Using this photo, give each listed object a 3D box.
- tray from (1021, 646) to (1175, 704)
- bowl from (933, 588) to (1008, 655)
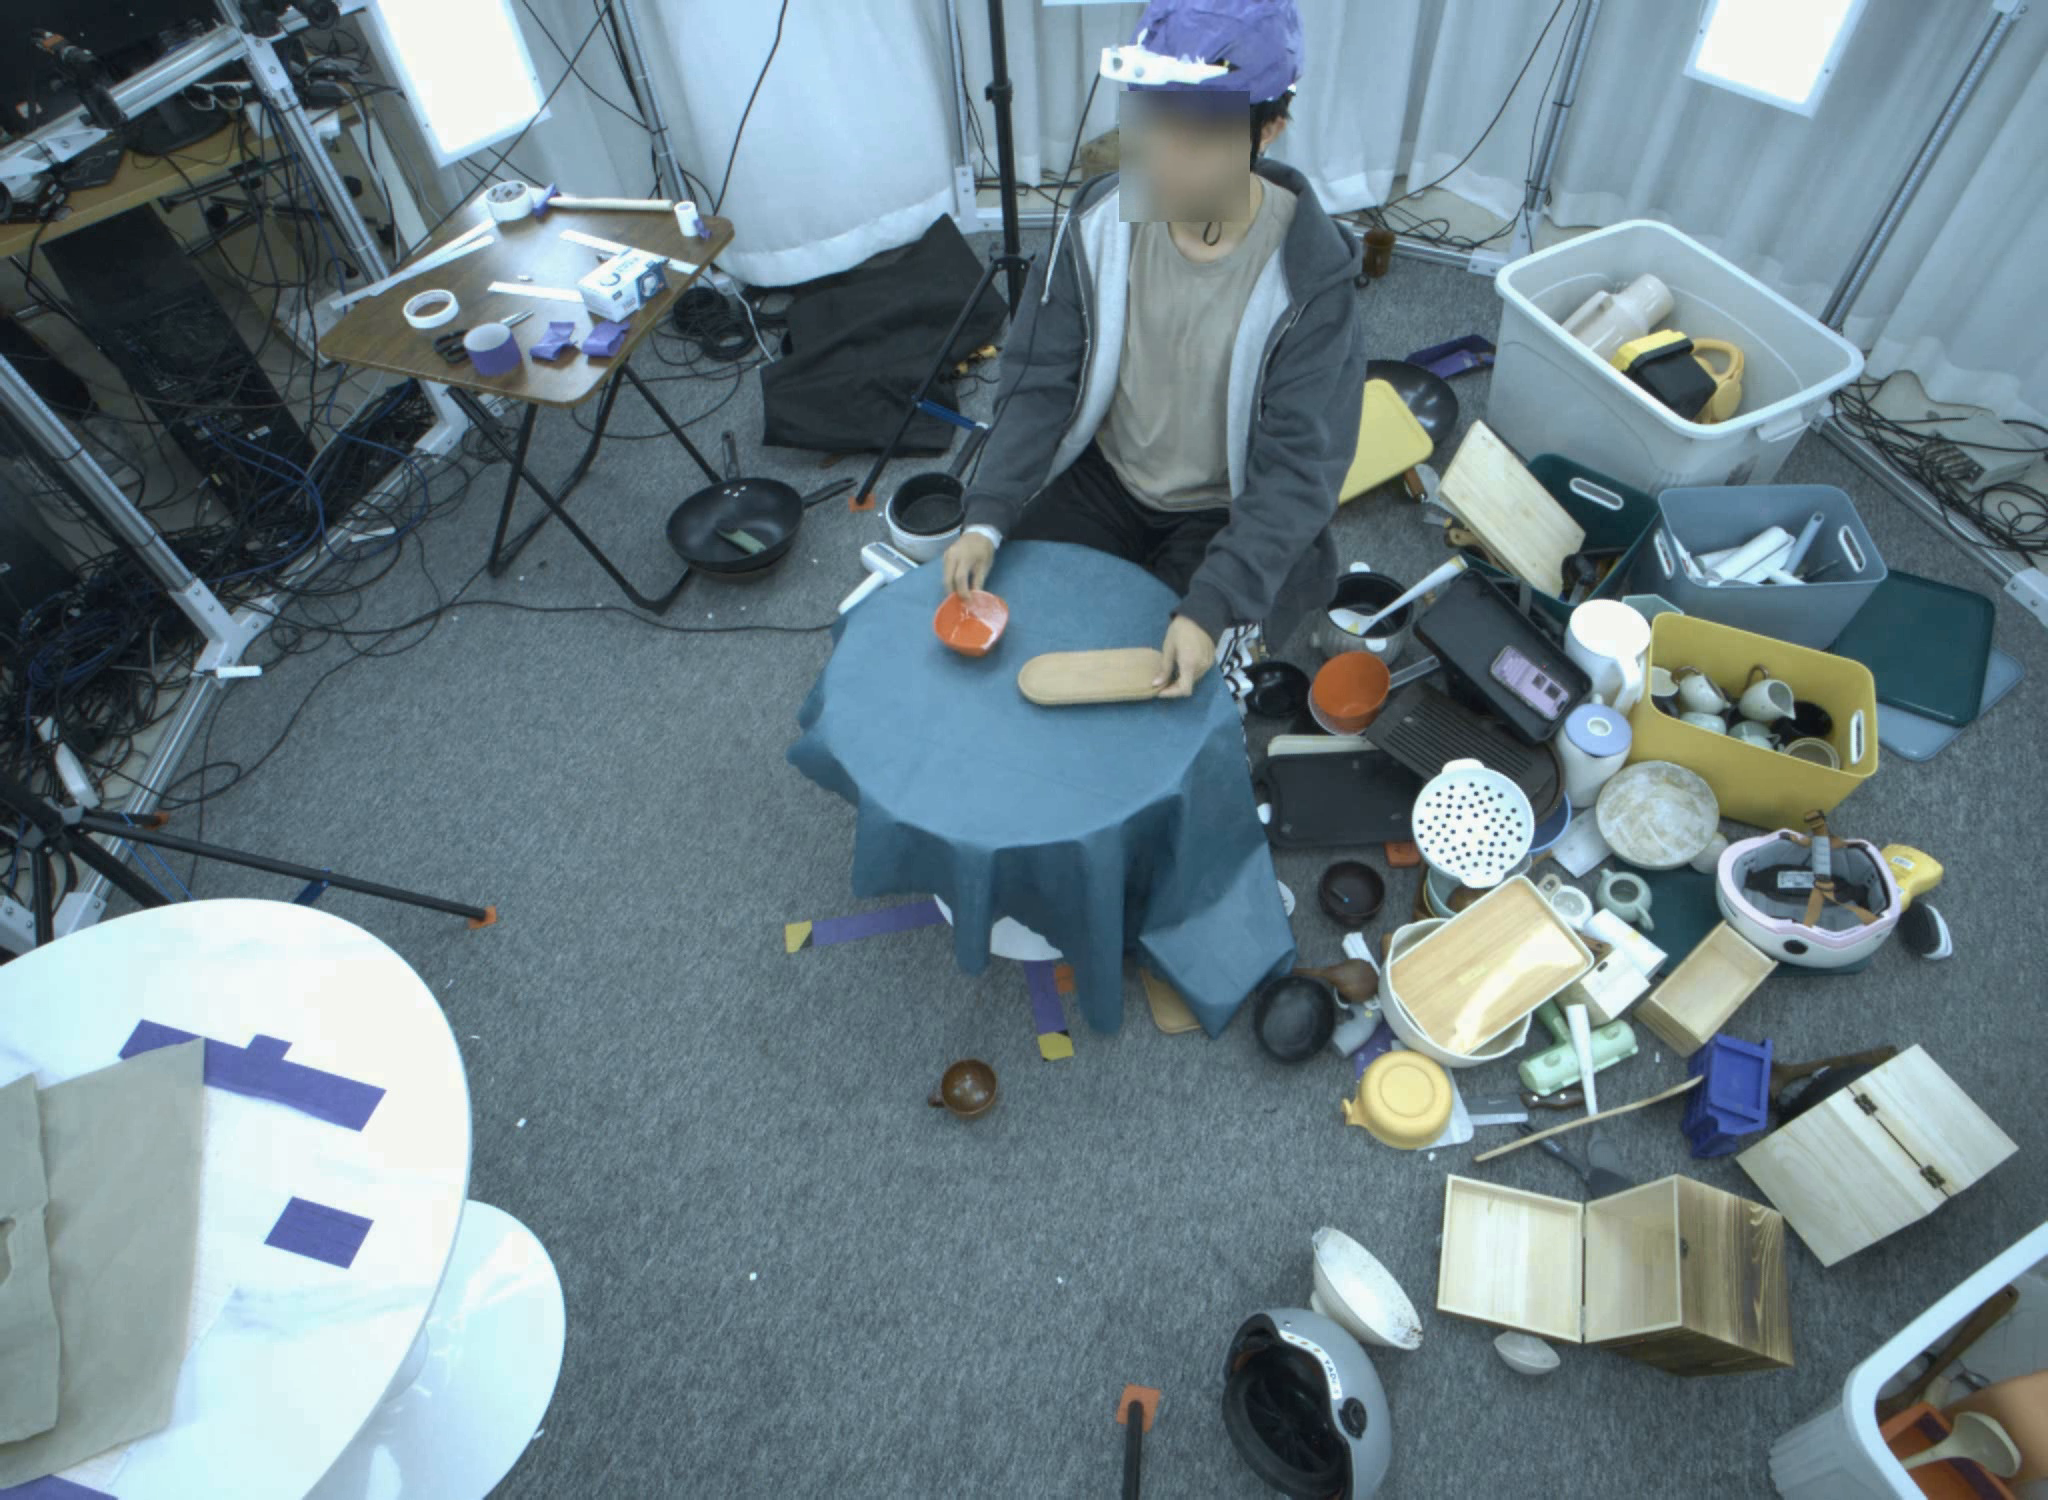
[{"bbox_3d":[0.110,-0.111,1.844,0.231,0.020,0.100,-3,48,3],"label":"tray"},{"bbox_3d":[-0.080,-0.190,1.891,0.118,0.052,0.118,-2,59,4],"label":"bowl"}]
